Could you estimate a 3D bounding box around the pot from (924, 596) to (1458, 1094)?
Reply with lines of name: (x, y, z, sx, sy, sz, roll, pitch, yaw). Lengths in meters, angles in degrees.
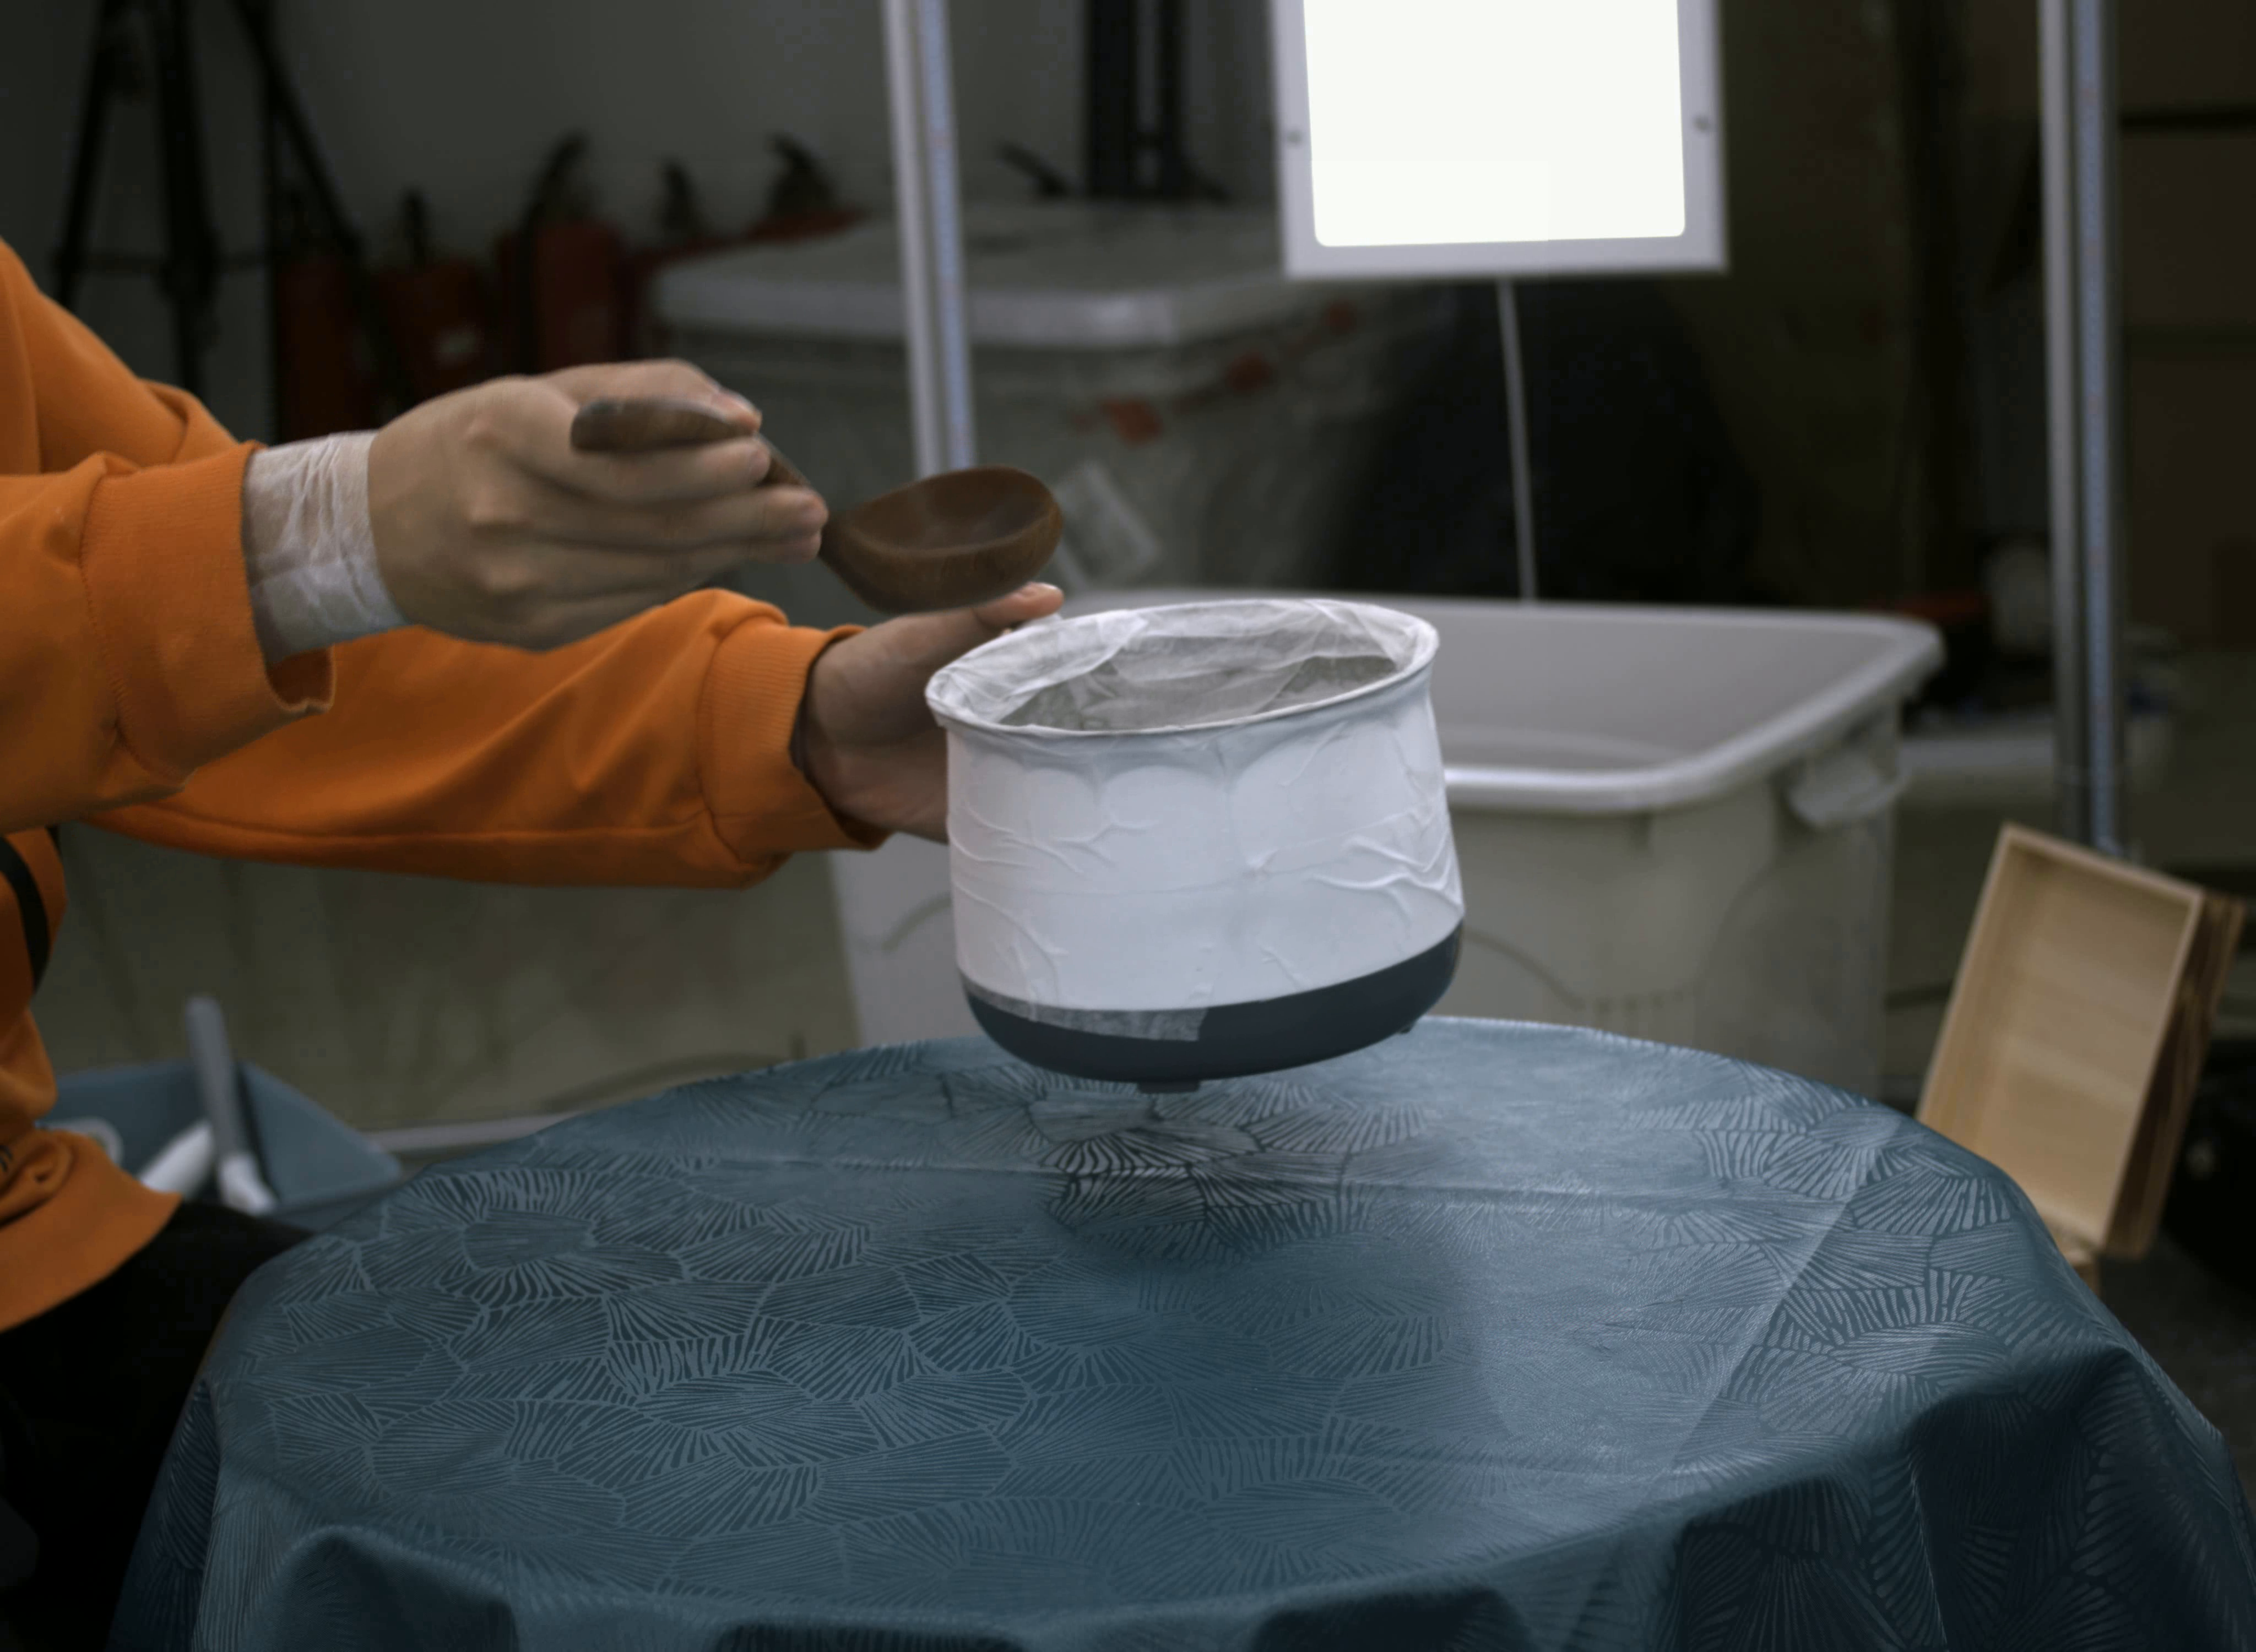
pot: (0.009, 0.000, 1.912, 0.175, 0.137, 0.238, -14, 17, -27)

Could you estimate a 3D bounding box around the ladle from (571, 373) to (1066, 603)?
ladle: (-0.098, -0.118, 1.684, 0.078, 0.065, 0.255, -7, -16, 25)
